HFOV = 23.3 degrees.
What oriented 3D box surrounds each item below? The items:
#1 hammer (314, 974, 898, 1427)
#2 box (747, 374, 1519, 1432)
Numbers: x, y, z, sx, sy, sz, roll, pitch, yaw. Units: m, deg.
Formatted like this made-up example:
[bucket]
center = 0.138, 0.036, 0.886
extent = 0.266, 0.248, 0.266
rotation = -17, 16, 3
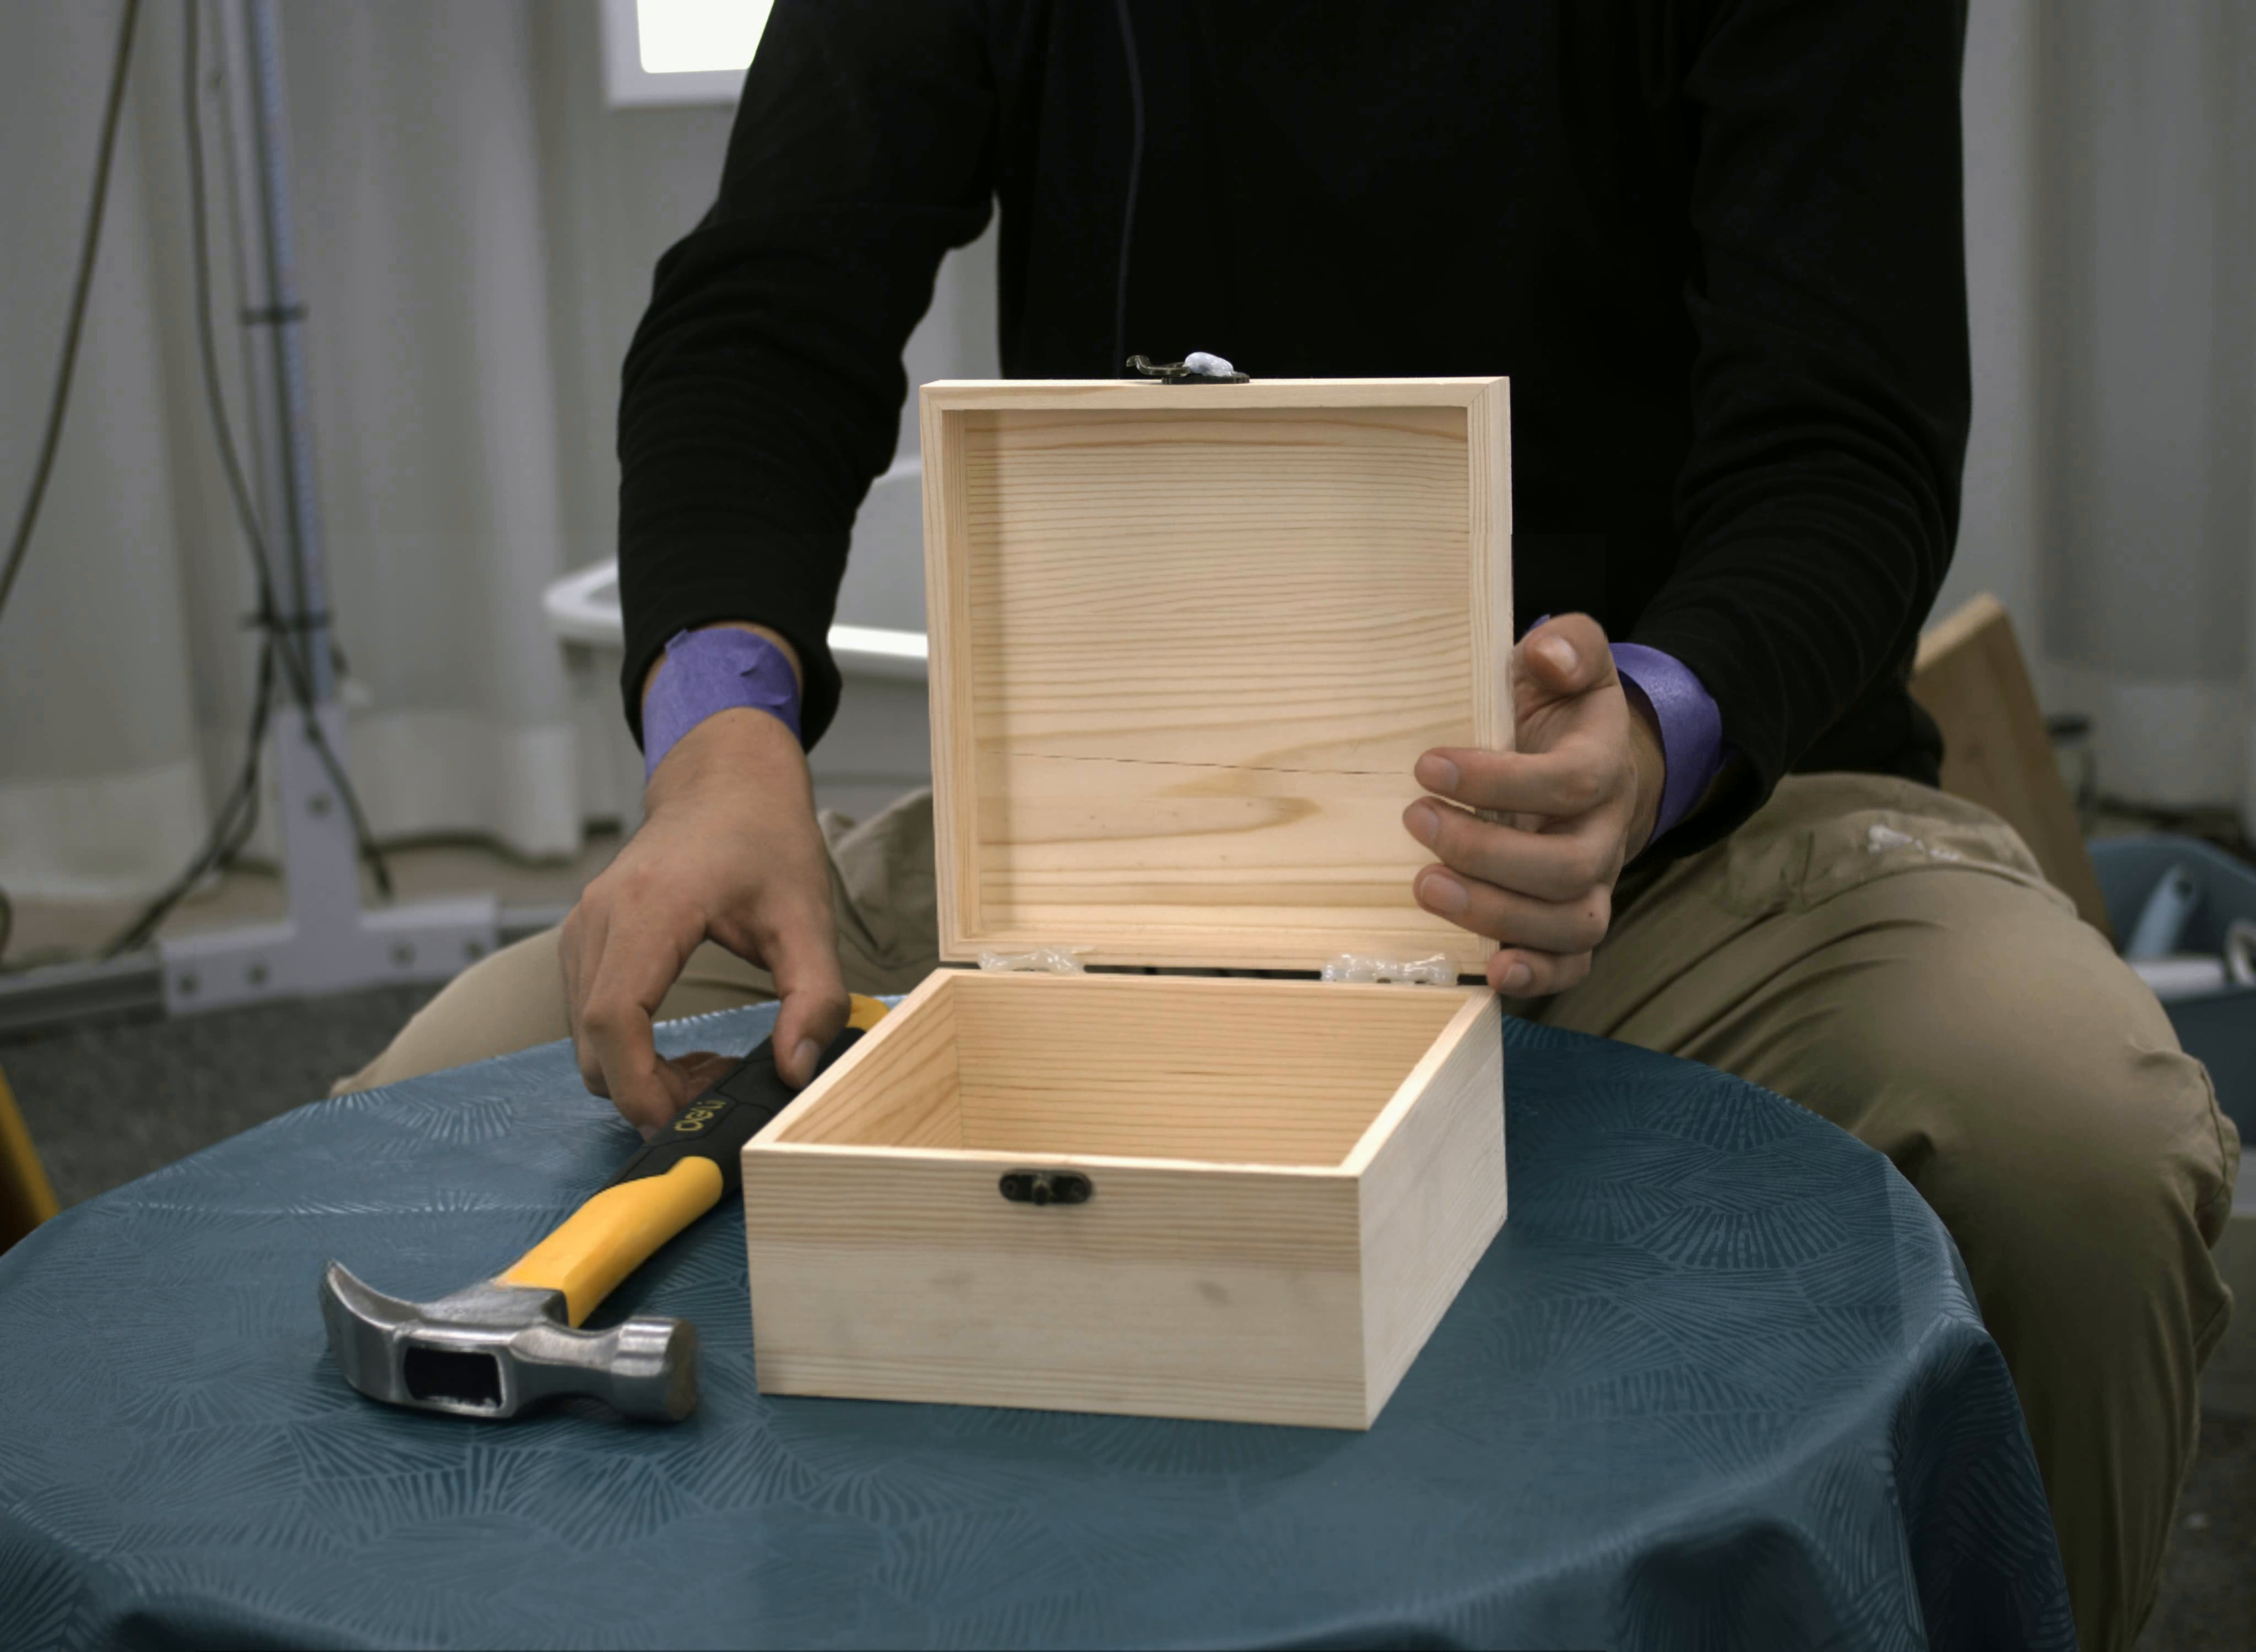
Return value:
[hammer]
center = -0.143, 0.108, 1.695
extent = 0.131, 0.032, 0.340
rotation = 2, 17, 17
[box]
center = 0.008, 0.013, 1.615
extent = 0.181, 0.252, 0.266
rotation = -1, 14, 16
